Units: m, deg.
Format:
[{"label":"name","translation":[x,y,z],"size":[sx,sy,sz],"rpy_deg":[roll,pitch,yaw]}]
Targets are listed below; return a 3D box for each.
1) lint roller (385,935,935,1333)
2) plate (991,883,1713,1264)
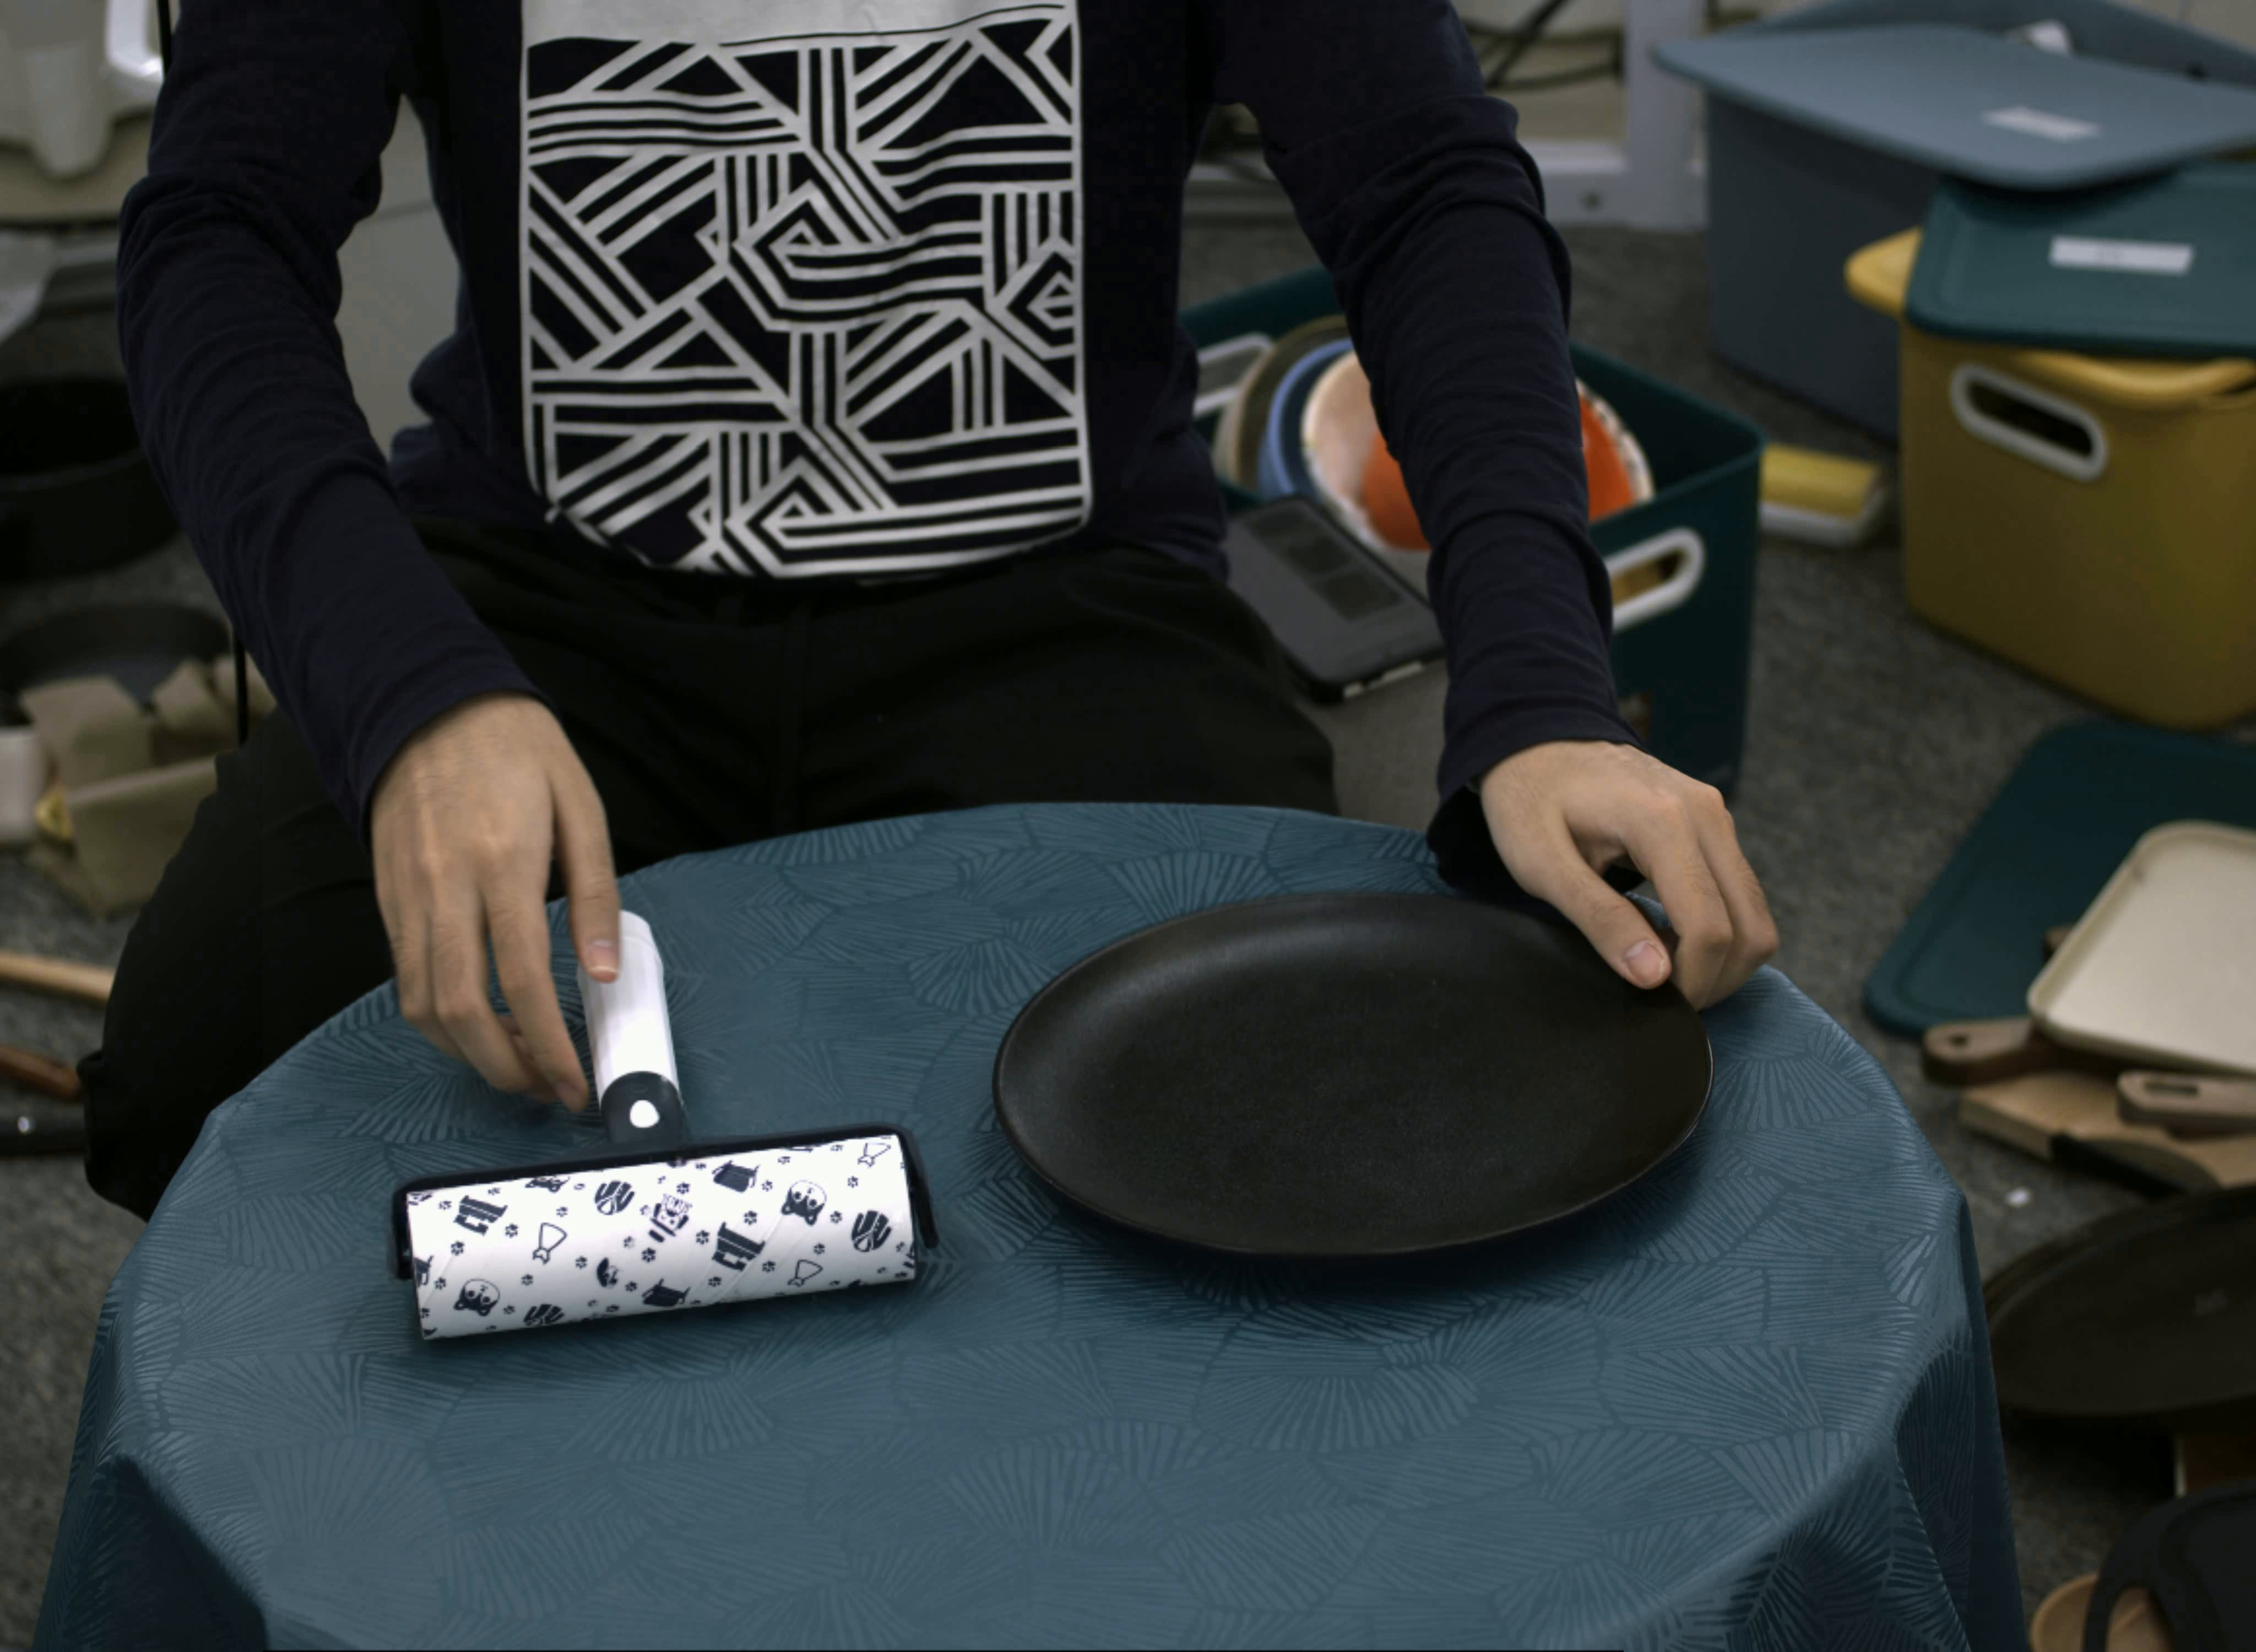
[{"label":"lint roller","translation":[-0.167,0.090,1.895],"size":[0.176,0.050,0.250],"rpy_deg":[-7,25,-7]},{"label":"plate","translation":[0.075,0.087,1.894],"size":[0.243,0.023,0.248],"rpy_deg":[-3,28,2]}]
